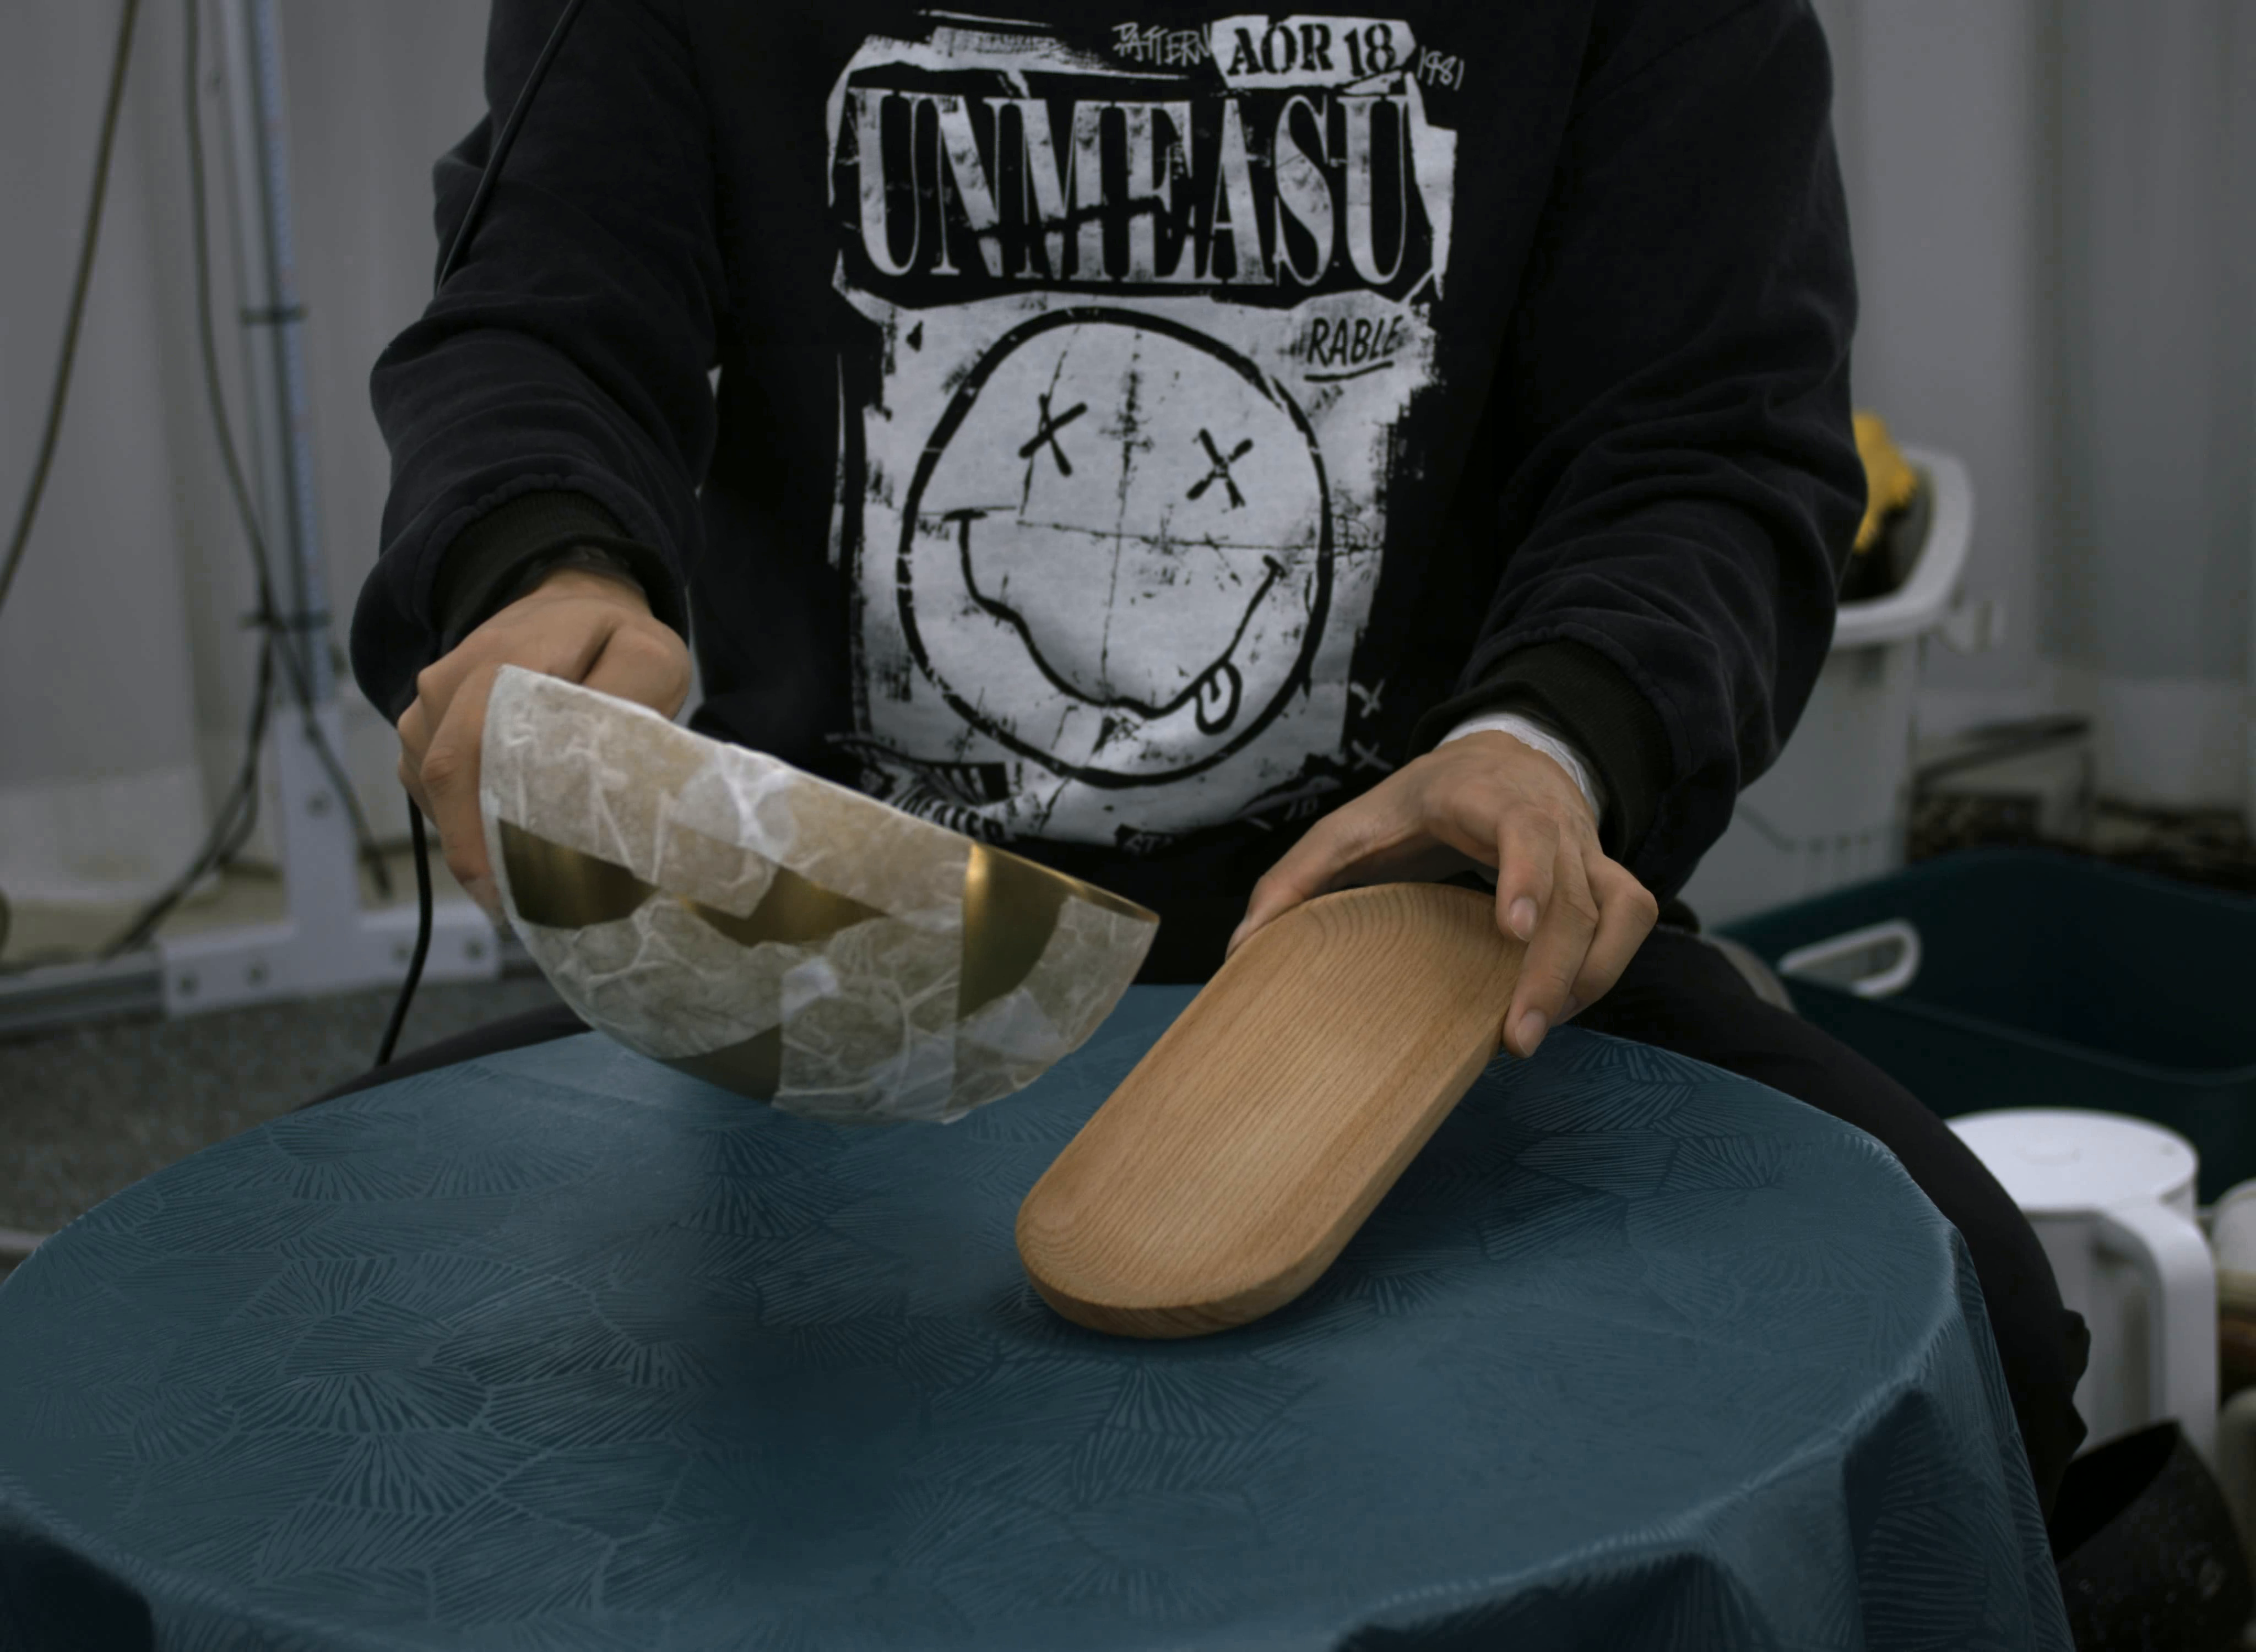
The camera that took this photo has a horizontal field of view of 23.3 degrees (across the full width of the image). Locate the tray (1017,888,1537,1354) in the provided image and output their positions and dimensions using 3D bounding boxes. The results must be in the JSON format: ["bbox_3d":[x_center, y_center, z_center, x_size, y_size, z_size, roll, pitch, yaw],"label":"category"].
[{"bbox_3d":[0.048,0.087,1.661,0.102,0.020,0.233,5,36,30],"label":"tray"}]

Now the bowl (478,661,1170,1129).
[{"bbox_3d":[-0.096,0.032,1.557,0.214,0.095,0.214,20,-2,1],"label":"bowl"}]
